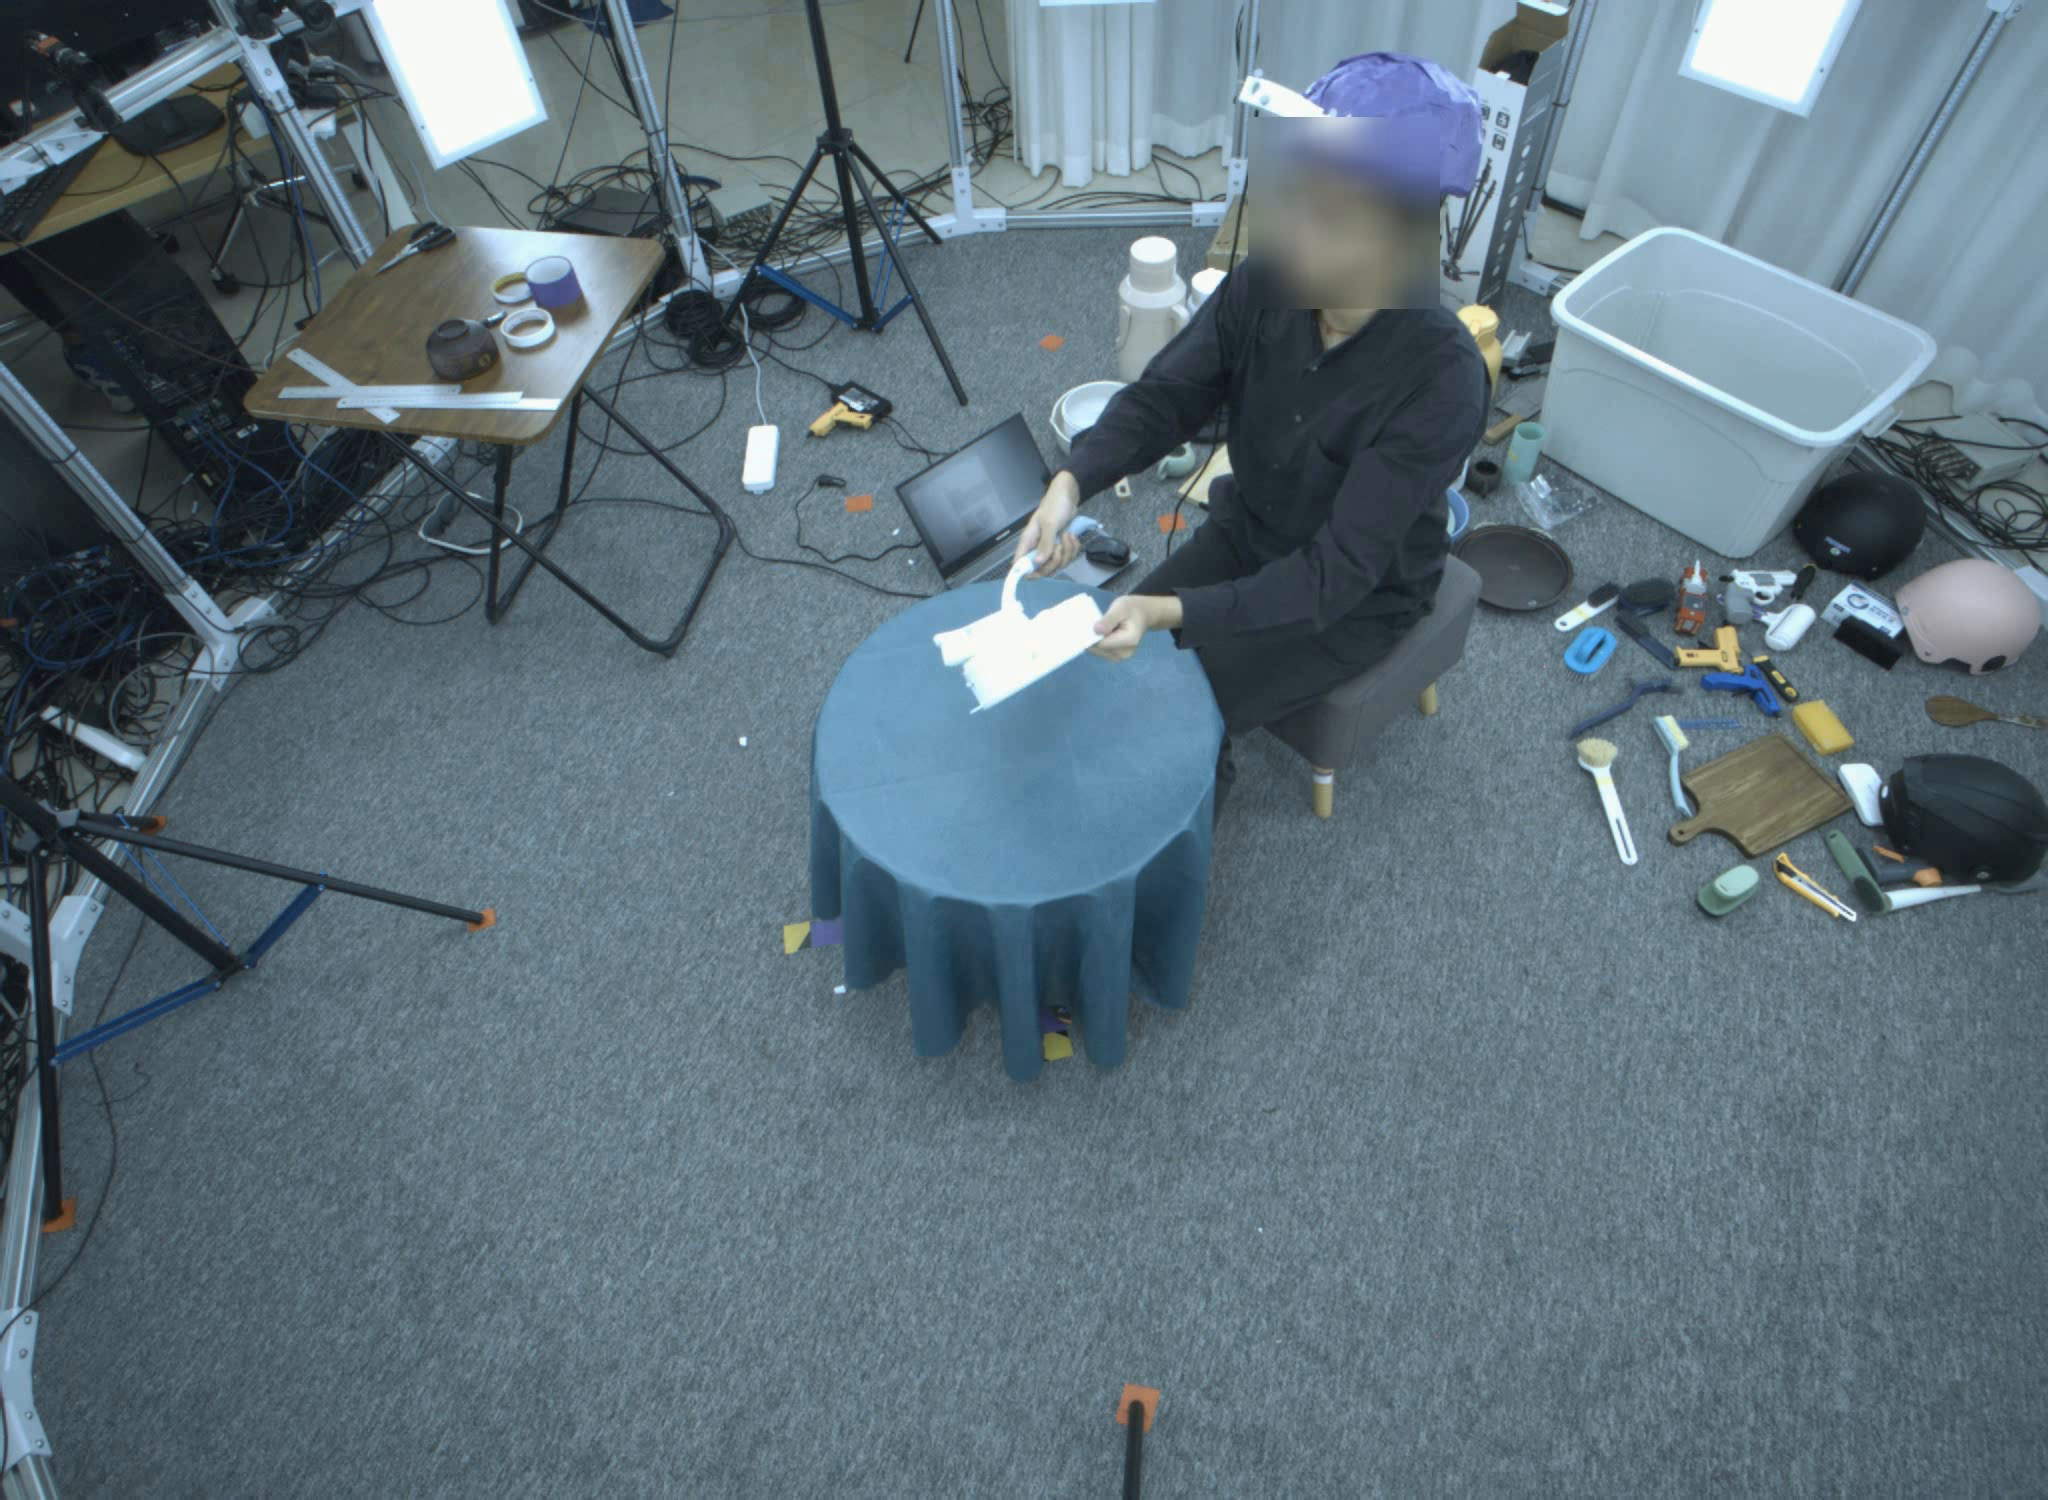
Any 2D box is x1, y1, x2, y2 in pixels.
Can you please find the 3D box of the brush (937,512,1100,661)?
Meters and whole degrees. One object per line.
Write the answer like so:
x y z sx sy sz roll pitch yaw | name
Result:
0.017 -0.212 1.661 0.081 0.086 0.328 22 52 39 | brush

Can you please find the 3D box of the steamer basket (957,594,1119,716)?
0.009 -0.128 1.584 0.230 0.201 0.069 -32 92 2 | steamer basket
